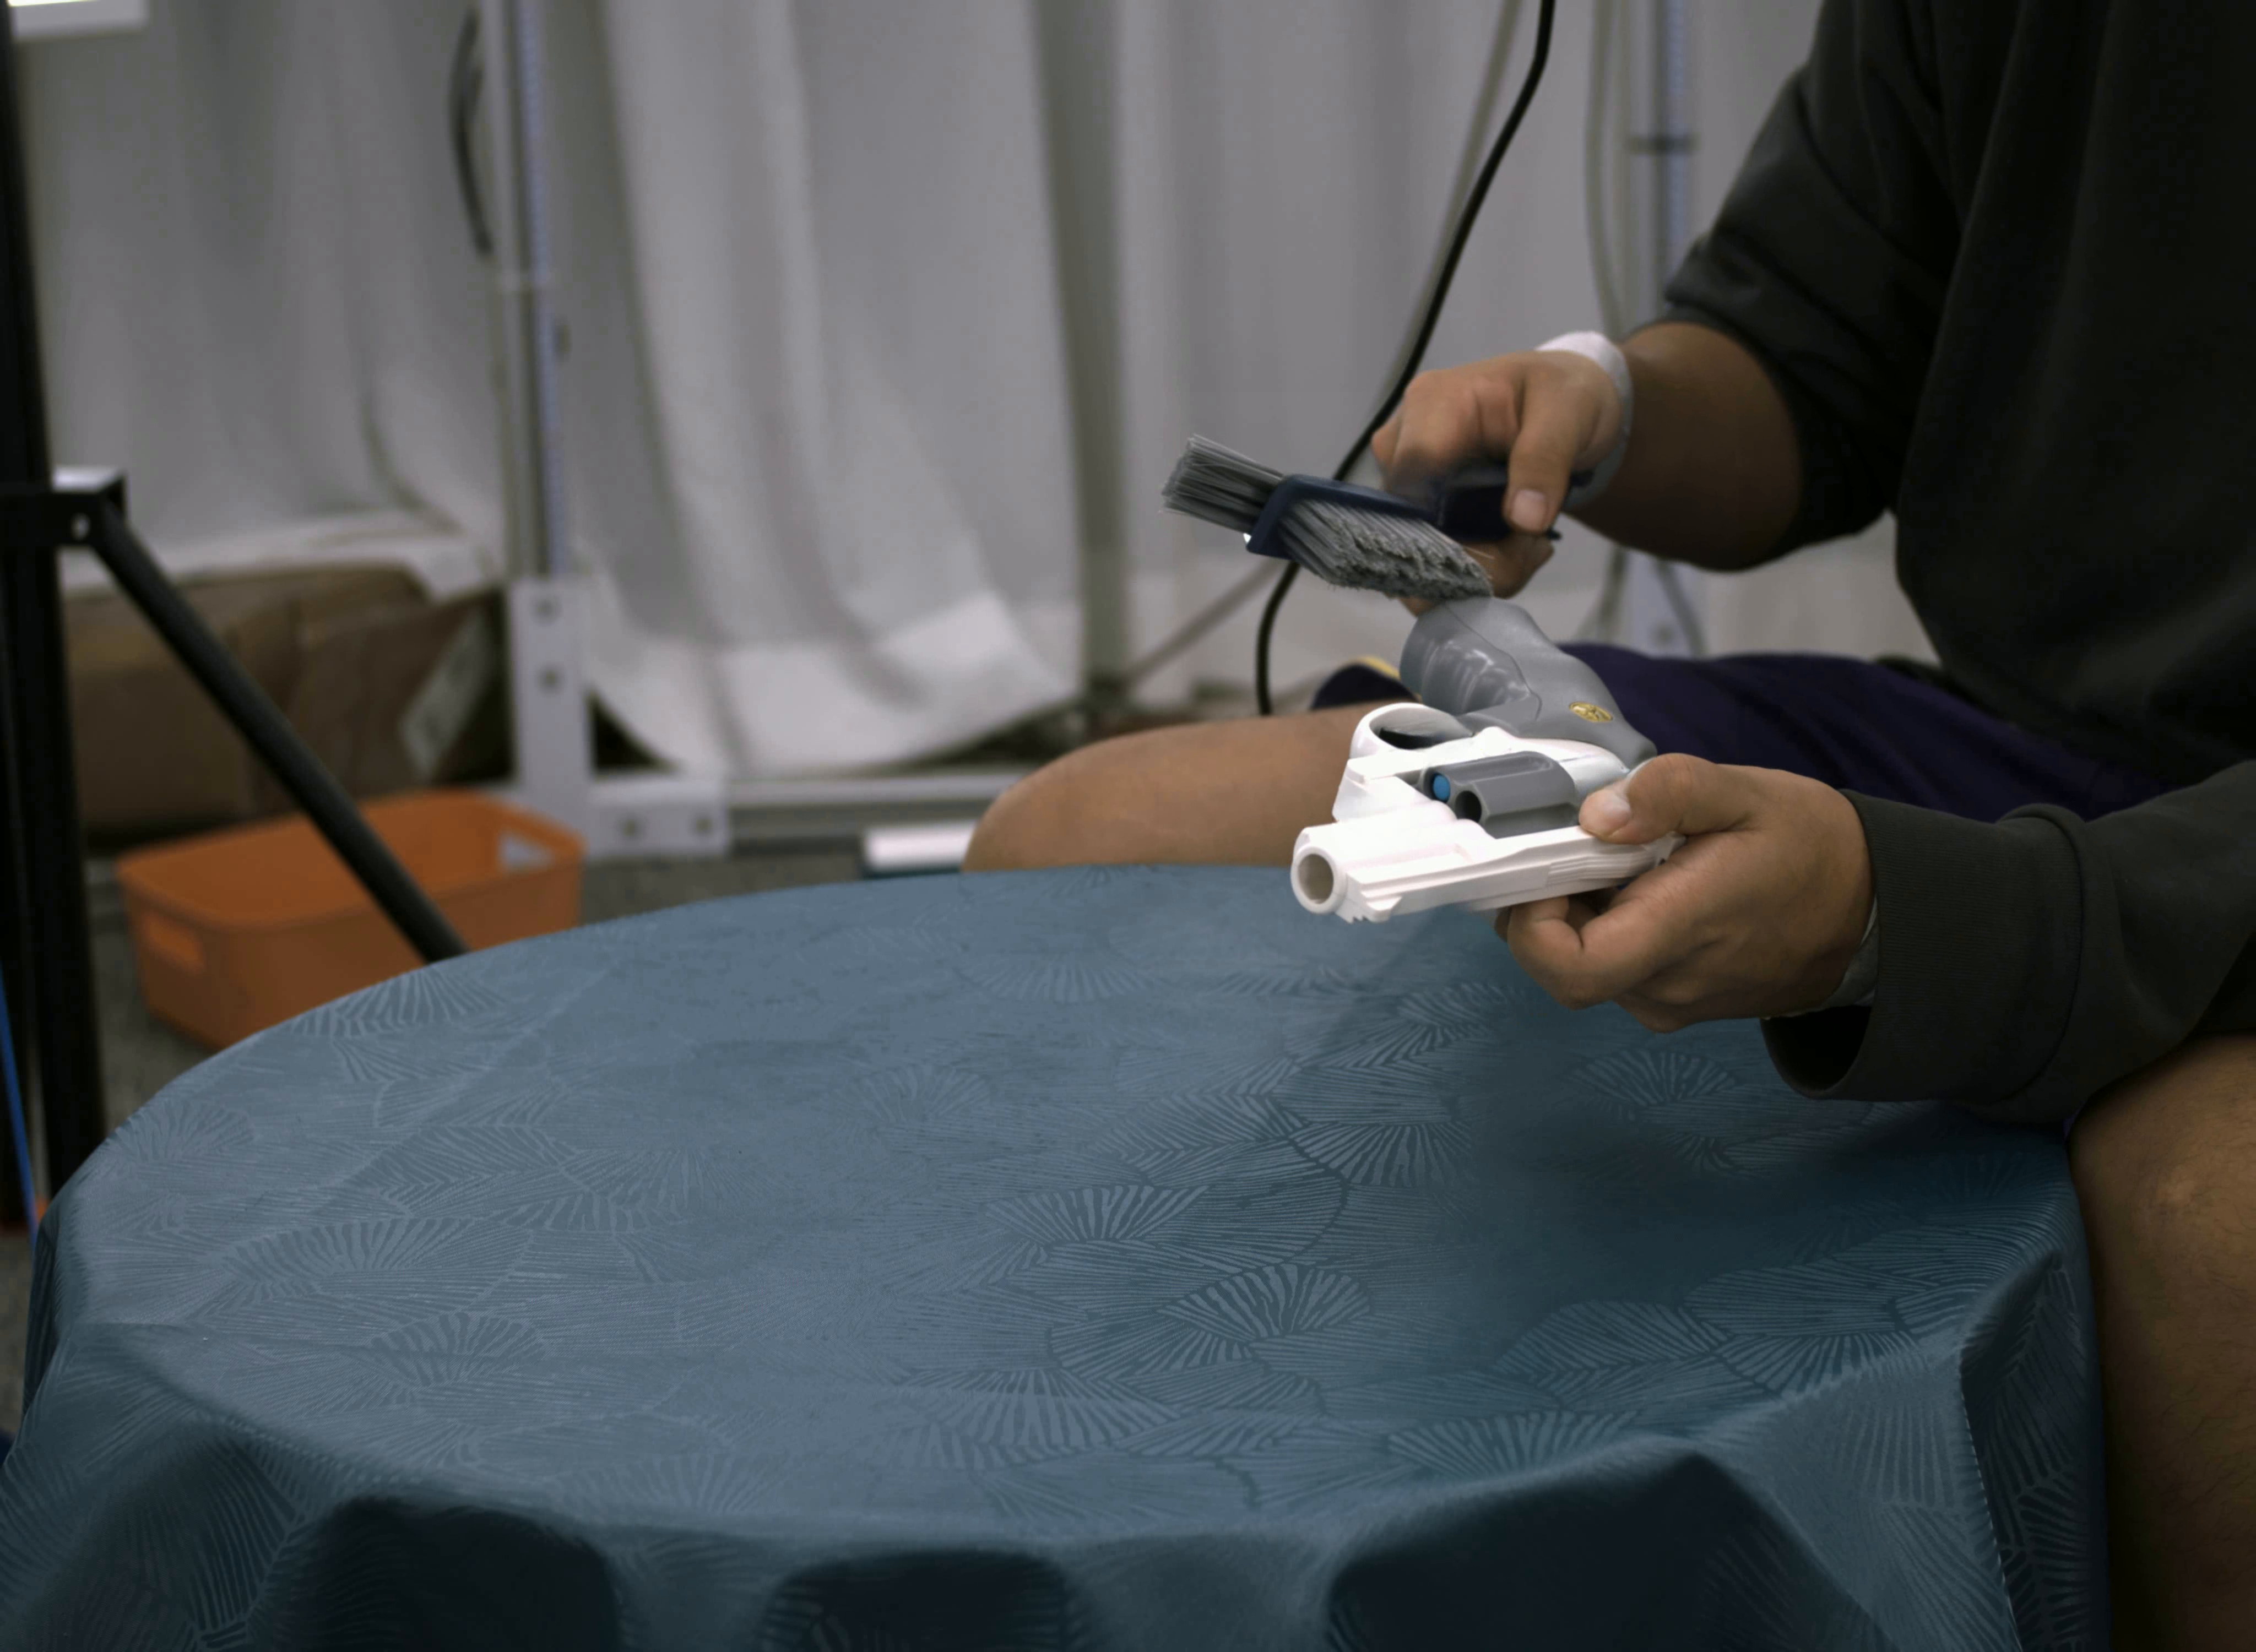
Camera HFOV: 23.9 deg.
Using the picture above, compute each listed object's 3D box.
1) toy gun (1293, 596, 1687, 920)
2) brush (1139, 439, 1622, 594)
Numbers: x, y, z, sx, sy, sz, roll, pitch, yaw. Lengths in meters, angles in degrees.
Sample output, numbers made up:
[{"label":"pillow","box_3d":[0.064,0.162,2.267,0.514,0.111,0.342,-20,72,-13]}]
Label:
[{"label":"toy gun","box_3d":[0.091,-0.018,1.532,0.204,0.039,0.145,-7,32,-45]},{"label":"brush","box_3d":[0.091,-0.106,1.707,0.097,0.033,0.269,28,16,15]}]
